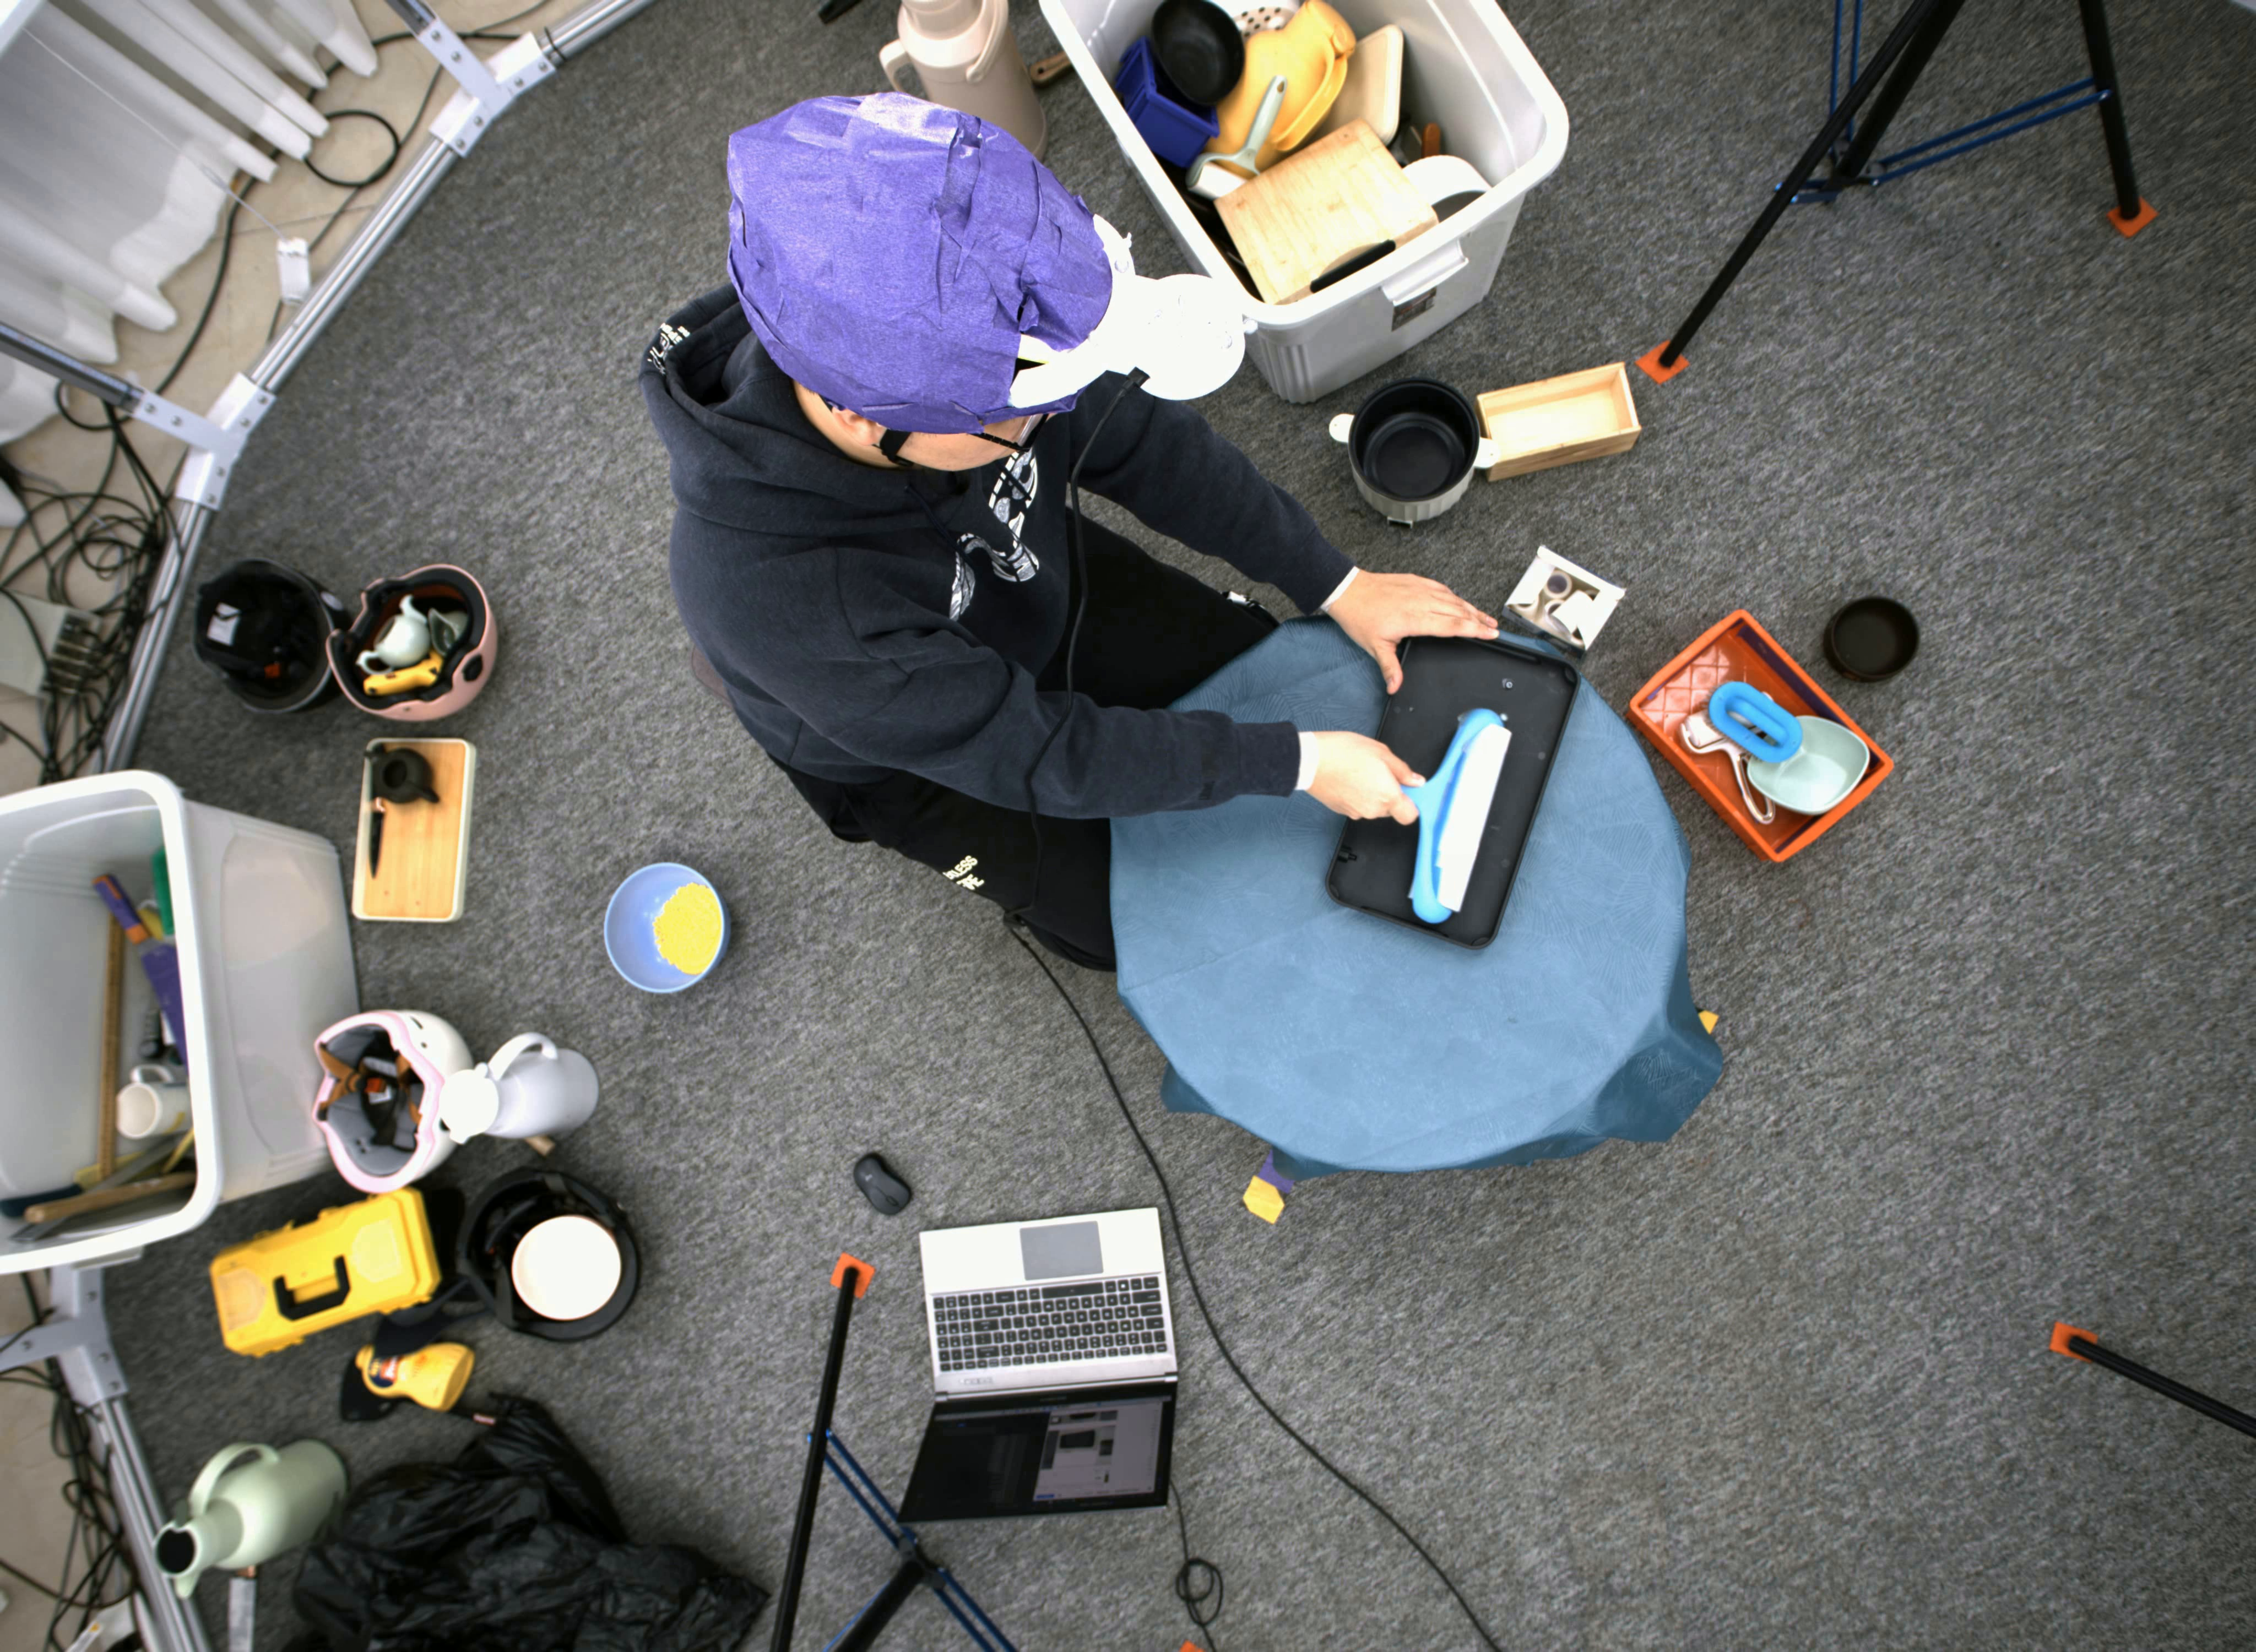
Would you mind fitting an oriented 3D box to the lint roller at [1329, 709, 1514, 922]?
[{"bbox_3d":[0.294,-0.028,1.398,0.180,0.068,0.229,16,91,-21],"label":"lint roller"}]

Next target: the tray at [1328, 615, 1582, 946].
[{"bbox_3d":[0.341,-0.050,1.440,0.184,0.037,0.318,18,92,12],"label":"tray"}]
